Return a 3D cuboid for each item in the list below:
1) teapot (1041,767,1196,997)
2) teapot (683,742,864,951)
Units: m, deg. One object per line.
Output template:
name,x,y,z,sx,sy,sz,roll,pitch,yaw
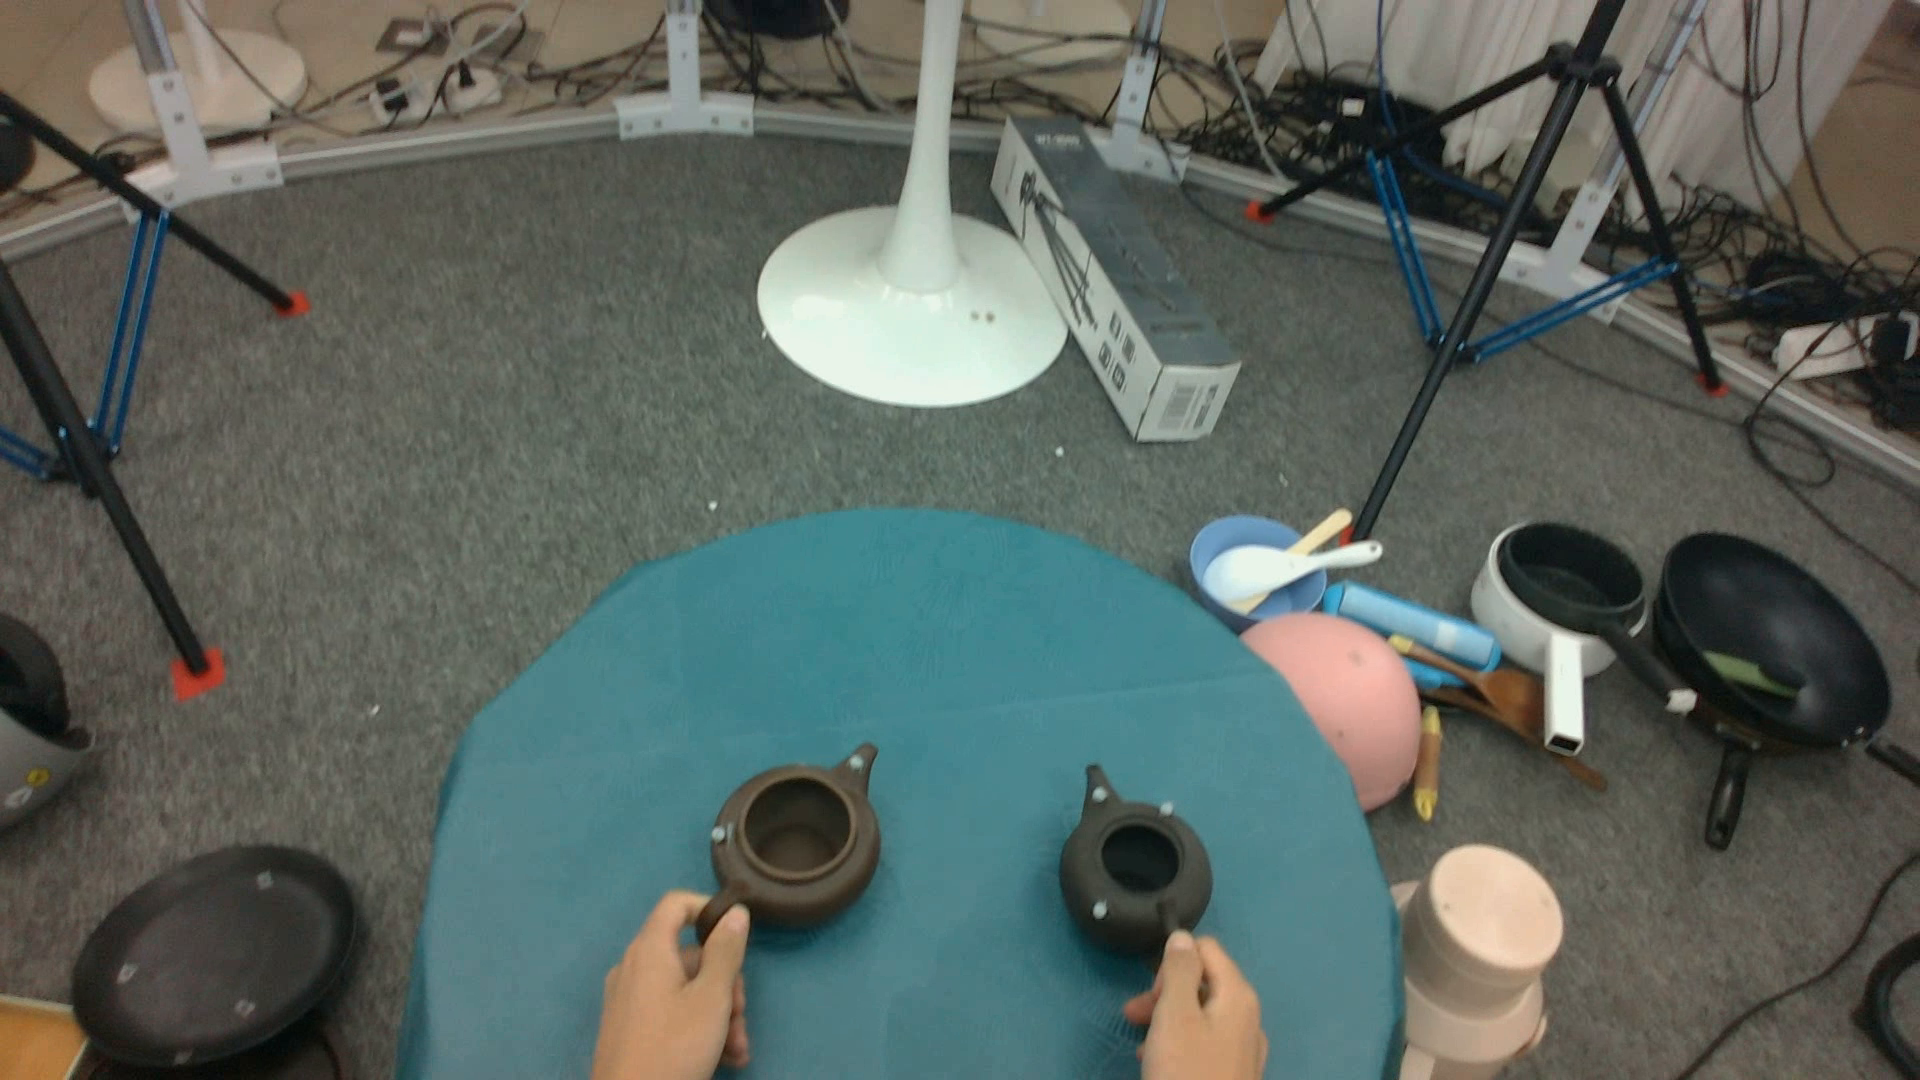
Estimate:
teapot,0.097,0.208,0.836,0.092,0.064,0.154,-14,46,-14
teapot,-0.112,0.186,0.829,0.102,0.053,0.154,25,46,17
